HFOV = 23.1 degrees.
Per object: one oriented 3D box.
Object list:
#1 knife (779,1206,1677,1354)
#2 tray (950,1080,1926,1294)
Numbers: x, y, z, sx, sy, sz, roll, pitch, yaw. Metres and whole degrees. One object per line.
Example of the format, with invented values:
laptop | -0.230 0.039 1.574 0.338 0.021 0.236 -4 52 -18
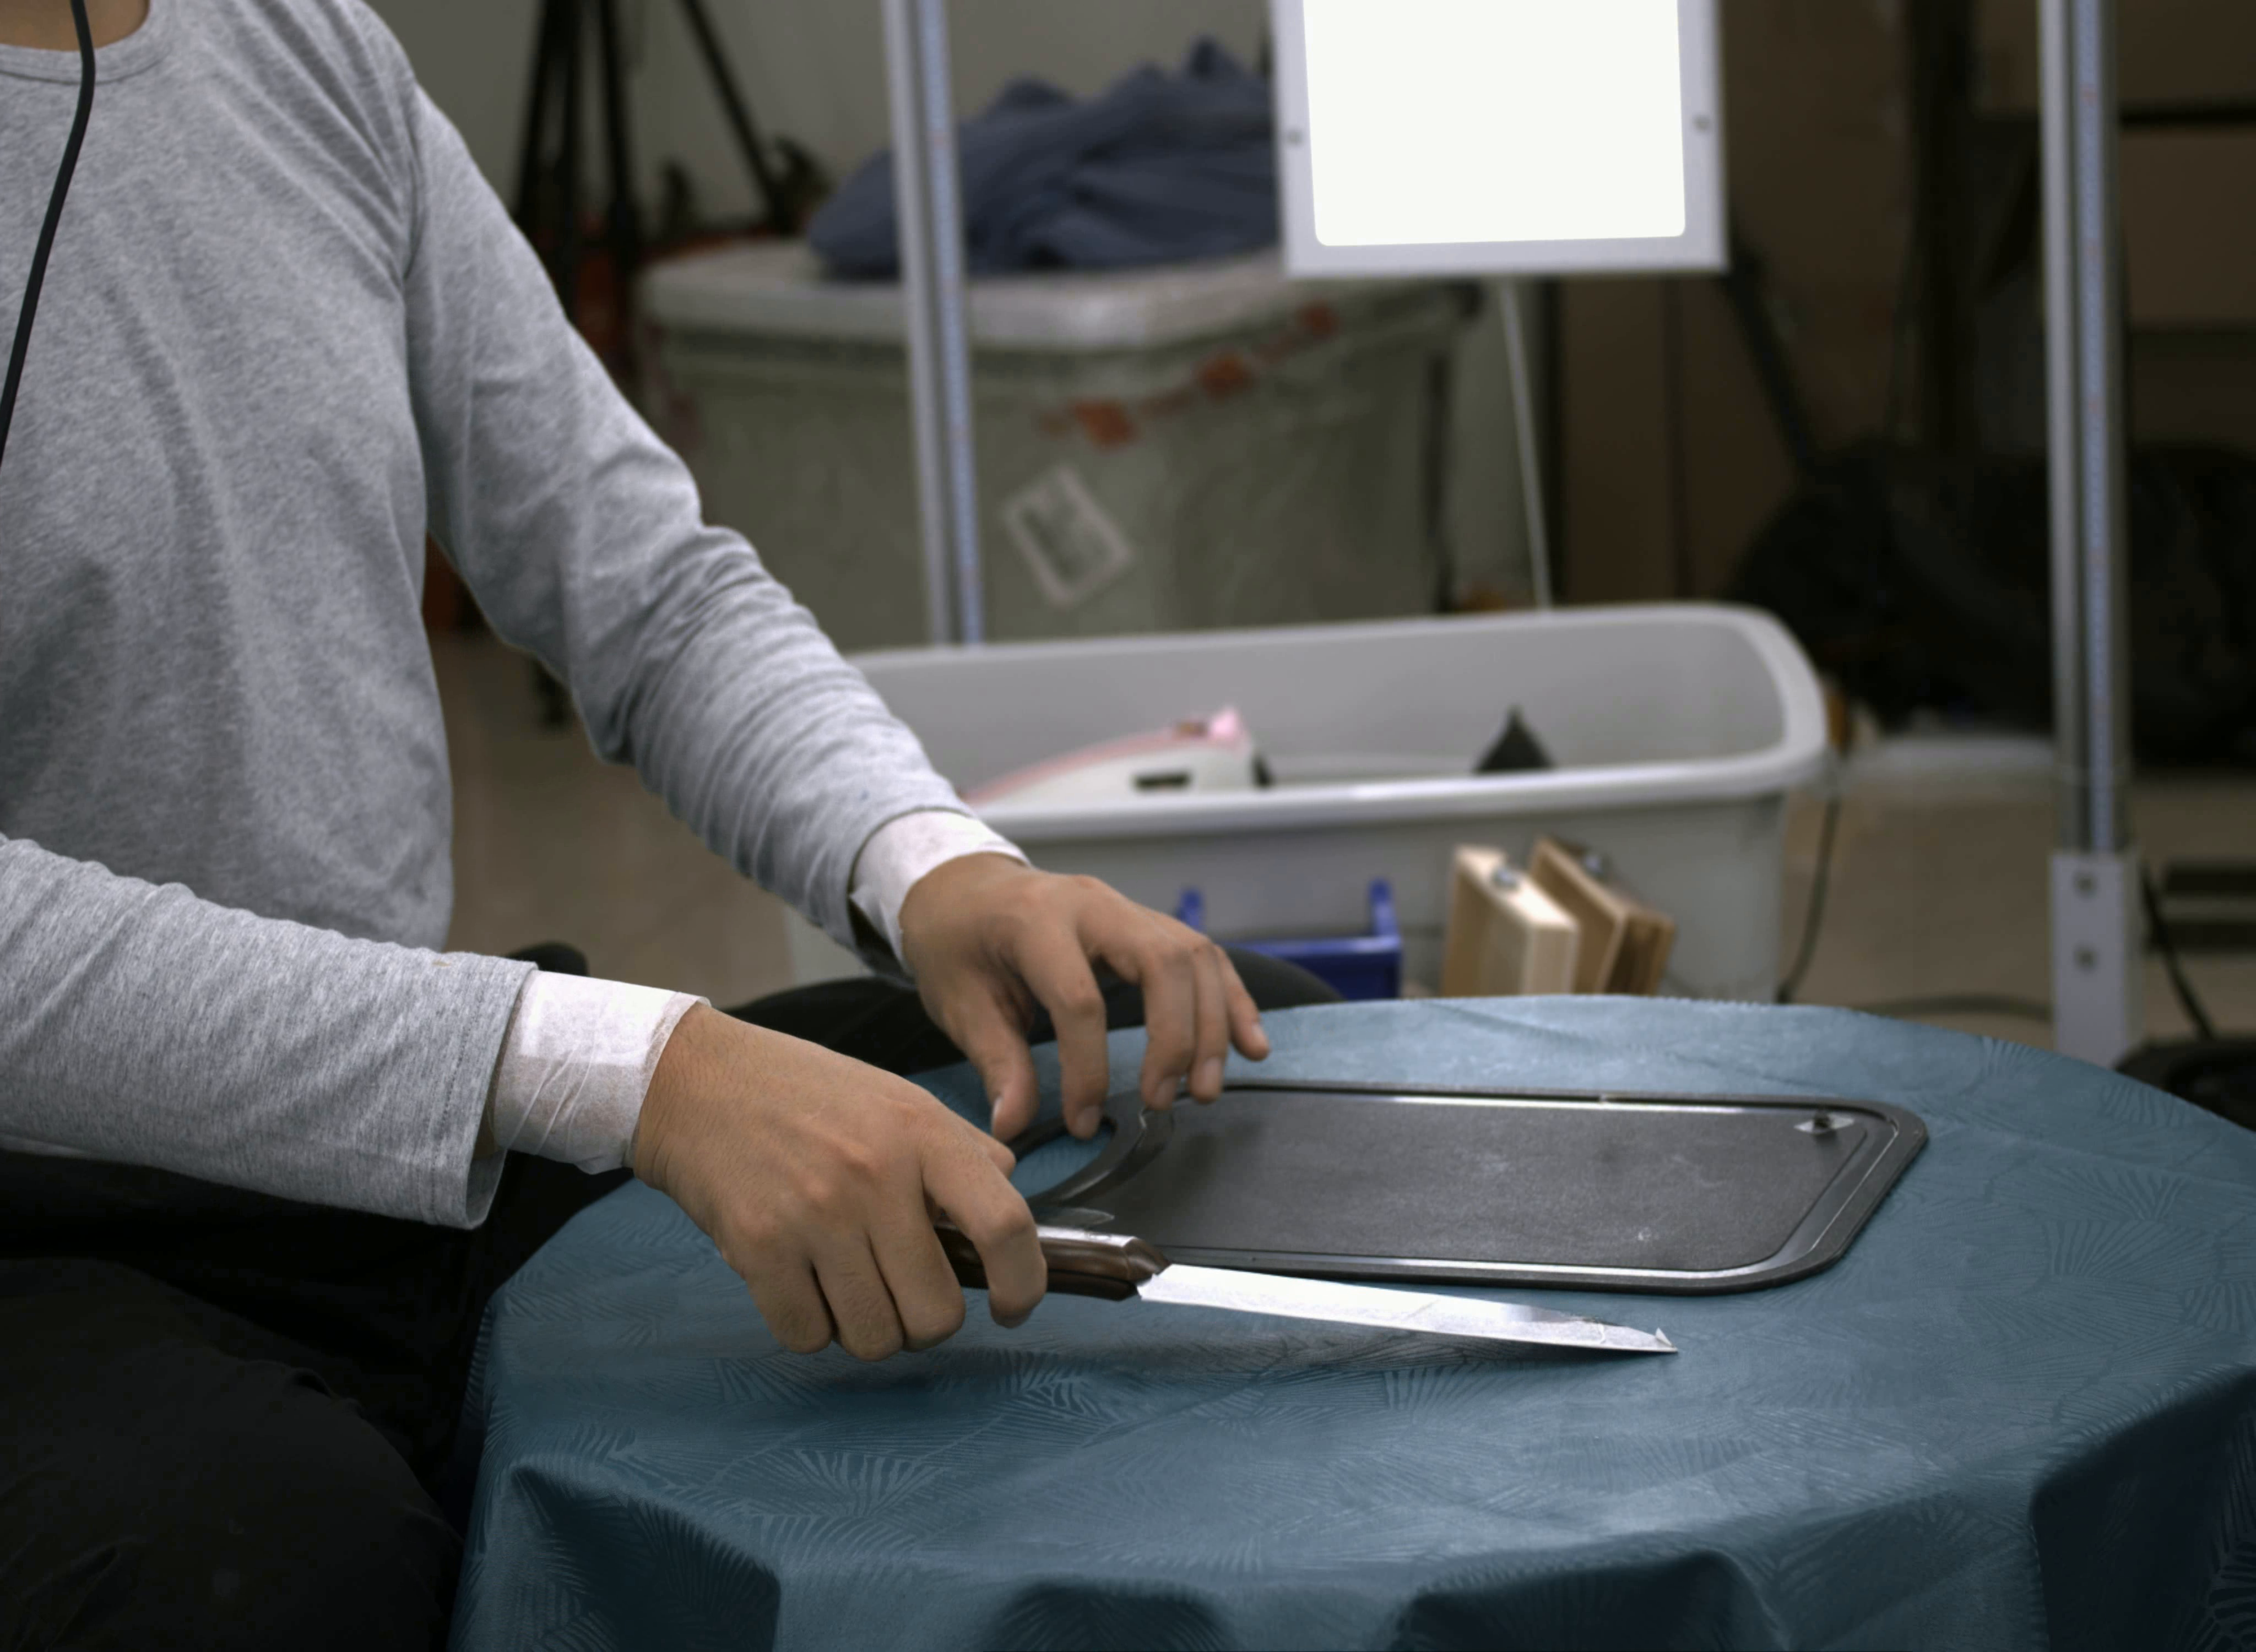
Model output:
knife | 0.029 0.146 1.727 0.291 0.020 0.049 6 13 11
tray | 0.101 0.119 1.884 0.330 0.010 0.207 1 14 24
